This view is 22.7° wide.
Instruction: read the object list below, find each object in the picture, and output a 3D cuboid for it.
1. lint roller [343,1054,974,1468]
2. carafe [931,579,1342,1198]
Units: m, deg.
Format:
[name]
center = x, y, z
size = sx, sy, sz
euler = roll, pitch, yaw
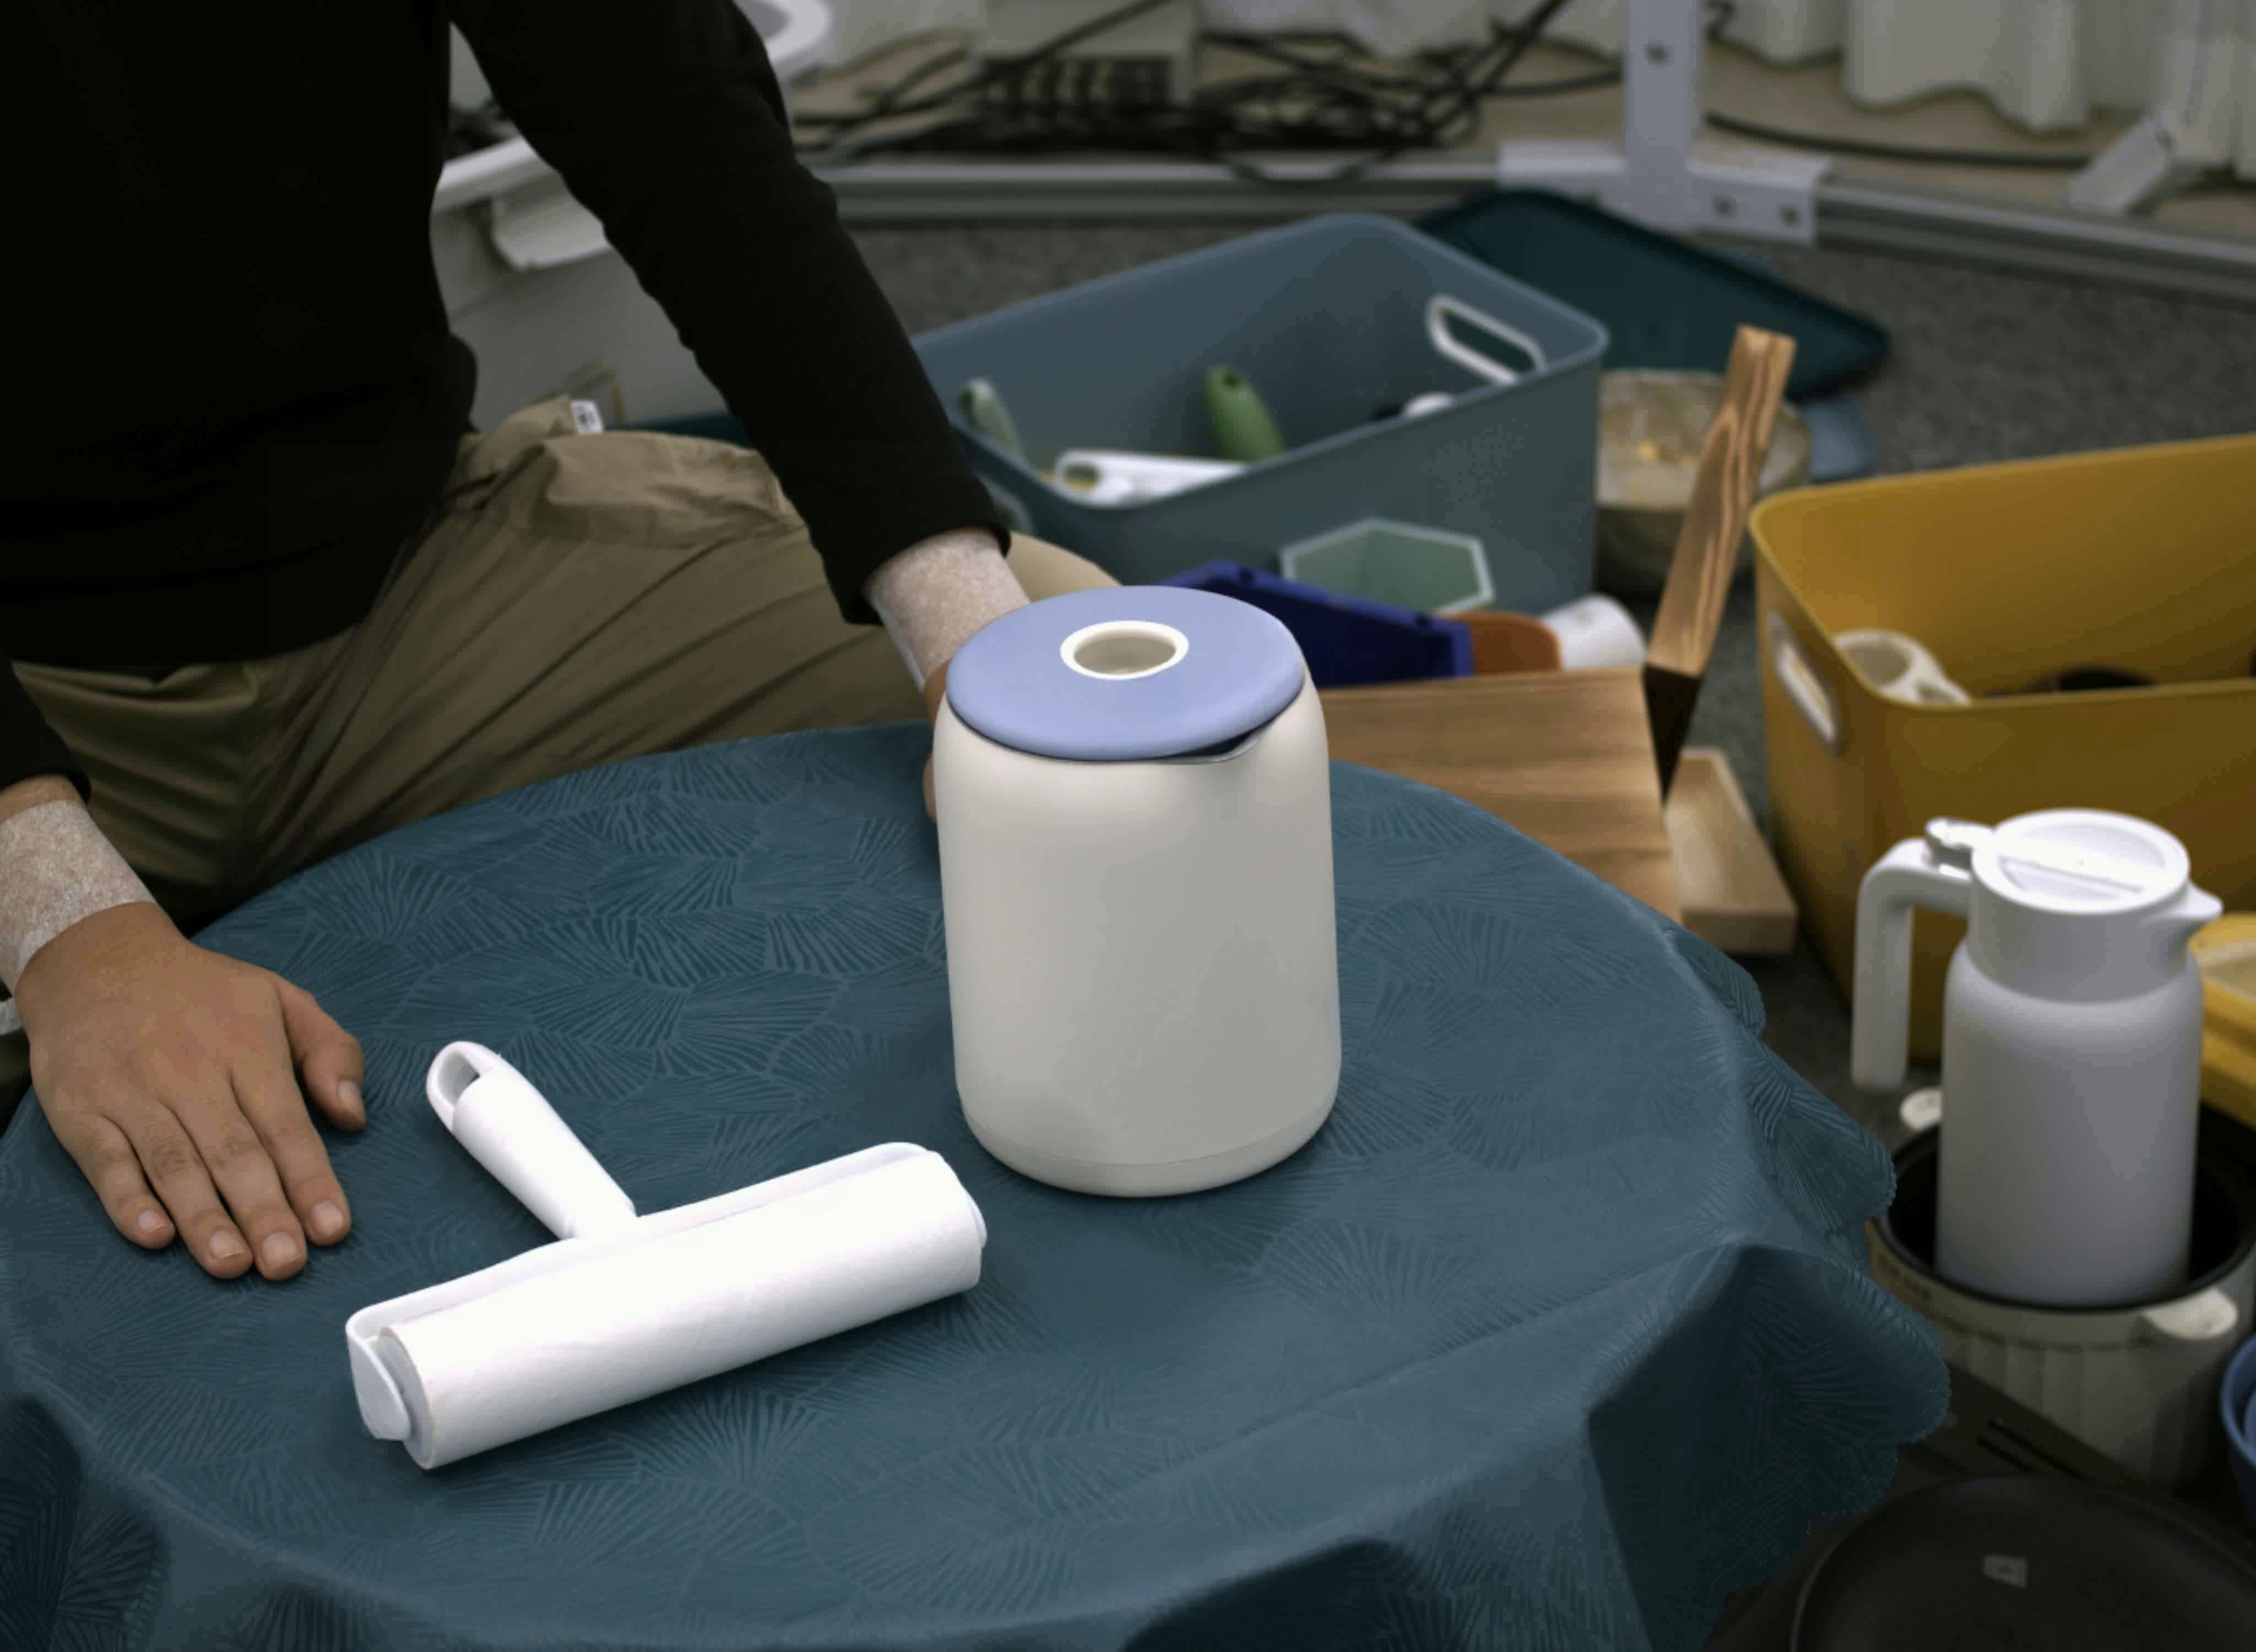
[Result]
[lint roller]
center = -0.184, 0.119, 1.839
size = 0.204, 0.048, 0.226
euler = -18, 30, -24
[carafe]
center = -0.009, 0.012, 1.890
size = 0.133, 0.181, 0.191
euler = -17, 28, -27
